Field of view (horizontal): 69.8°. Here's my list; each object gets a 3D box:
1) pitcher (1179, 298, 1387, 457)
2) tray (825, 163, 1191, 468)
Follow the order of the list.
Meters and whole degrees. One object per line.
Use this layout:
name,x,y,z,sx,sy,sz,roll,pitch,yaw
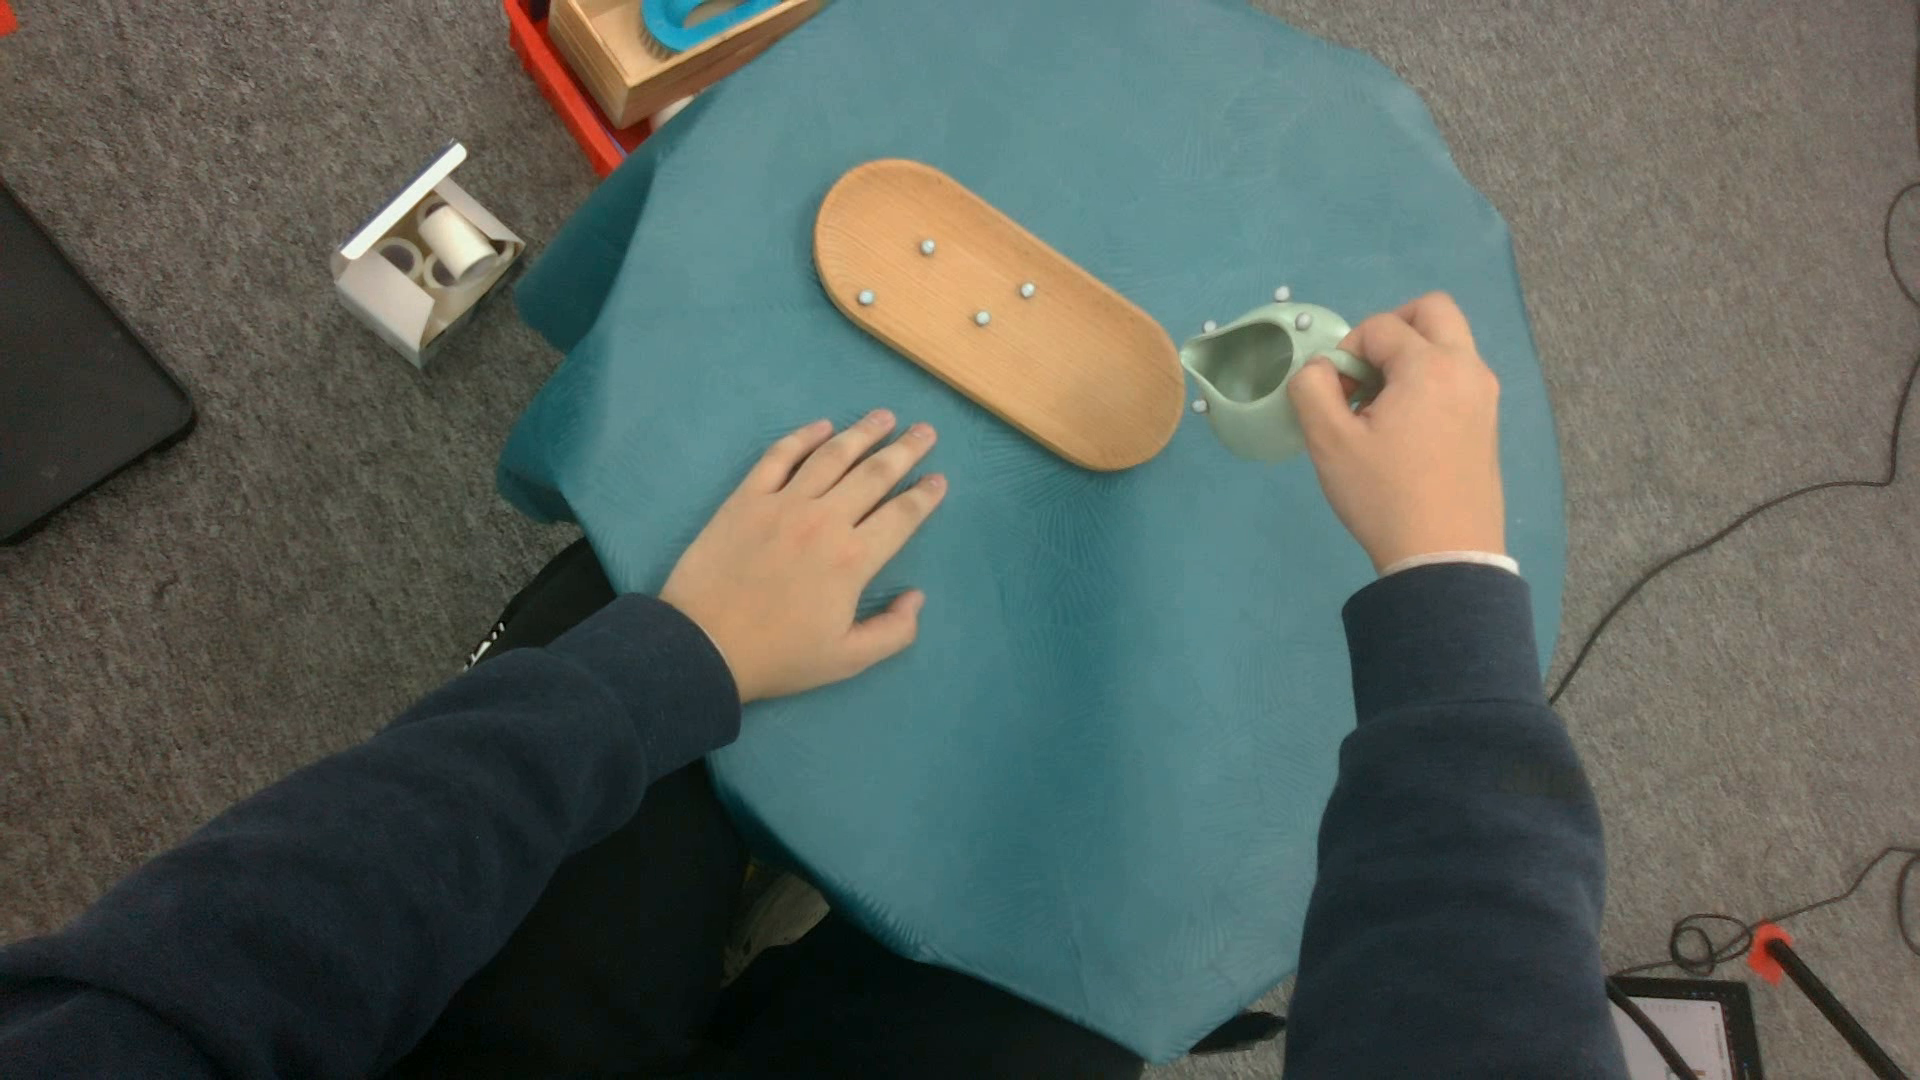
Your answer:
pitcher,0.170,-0.085,0.702,0.060,0.108,0.086,23,80,-45
tray,0.029,-0.123,0.769,0.231,0.020,0.102,32,73,-14
